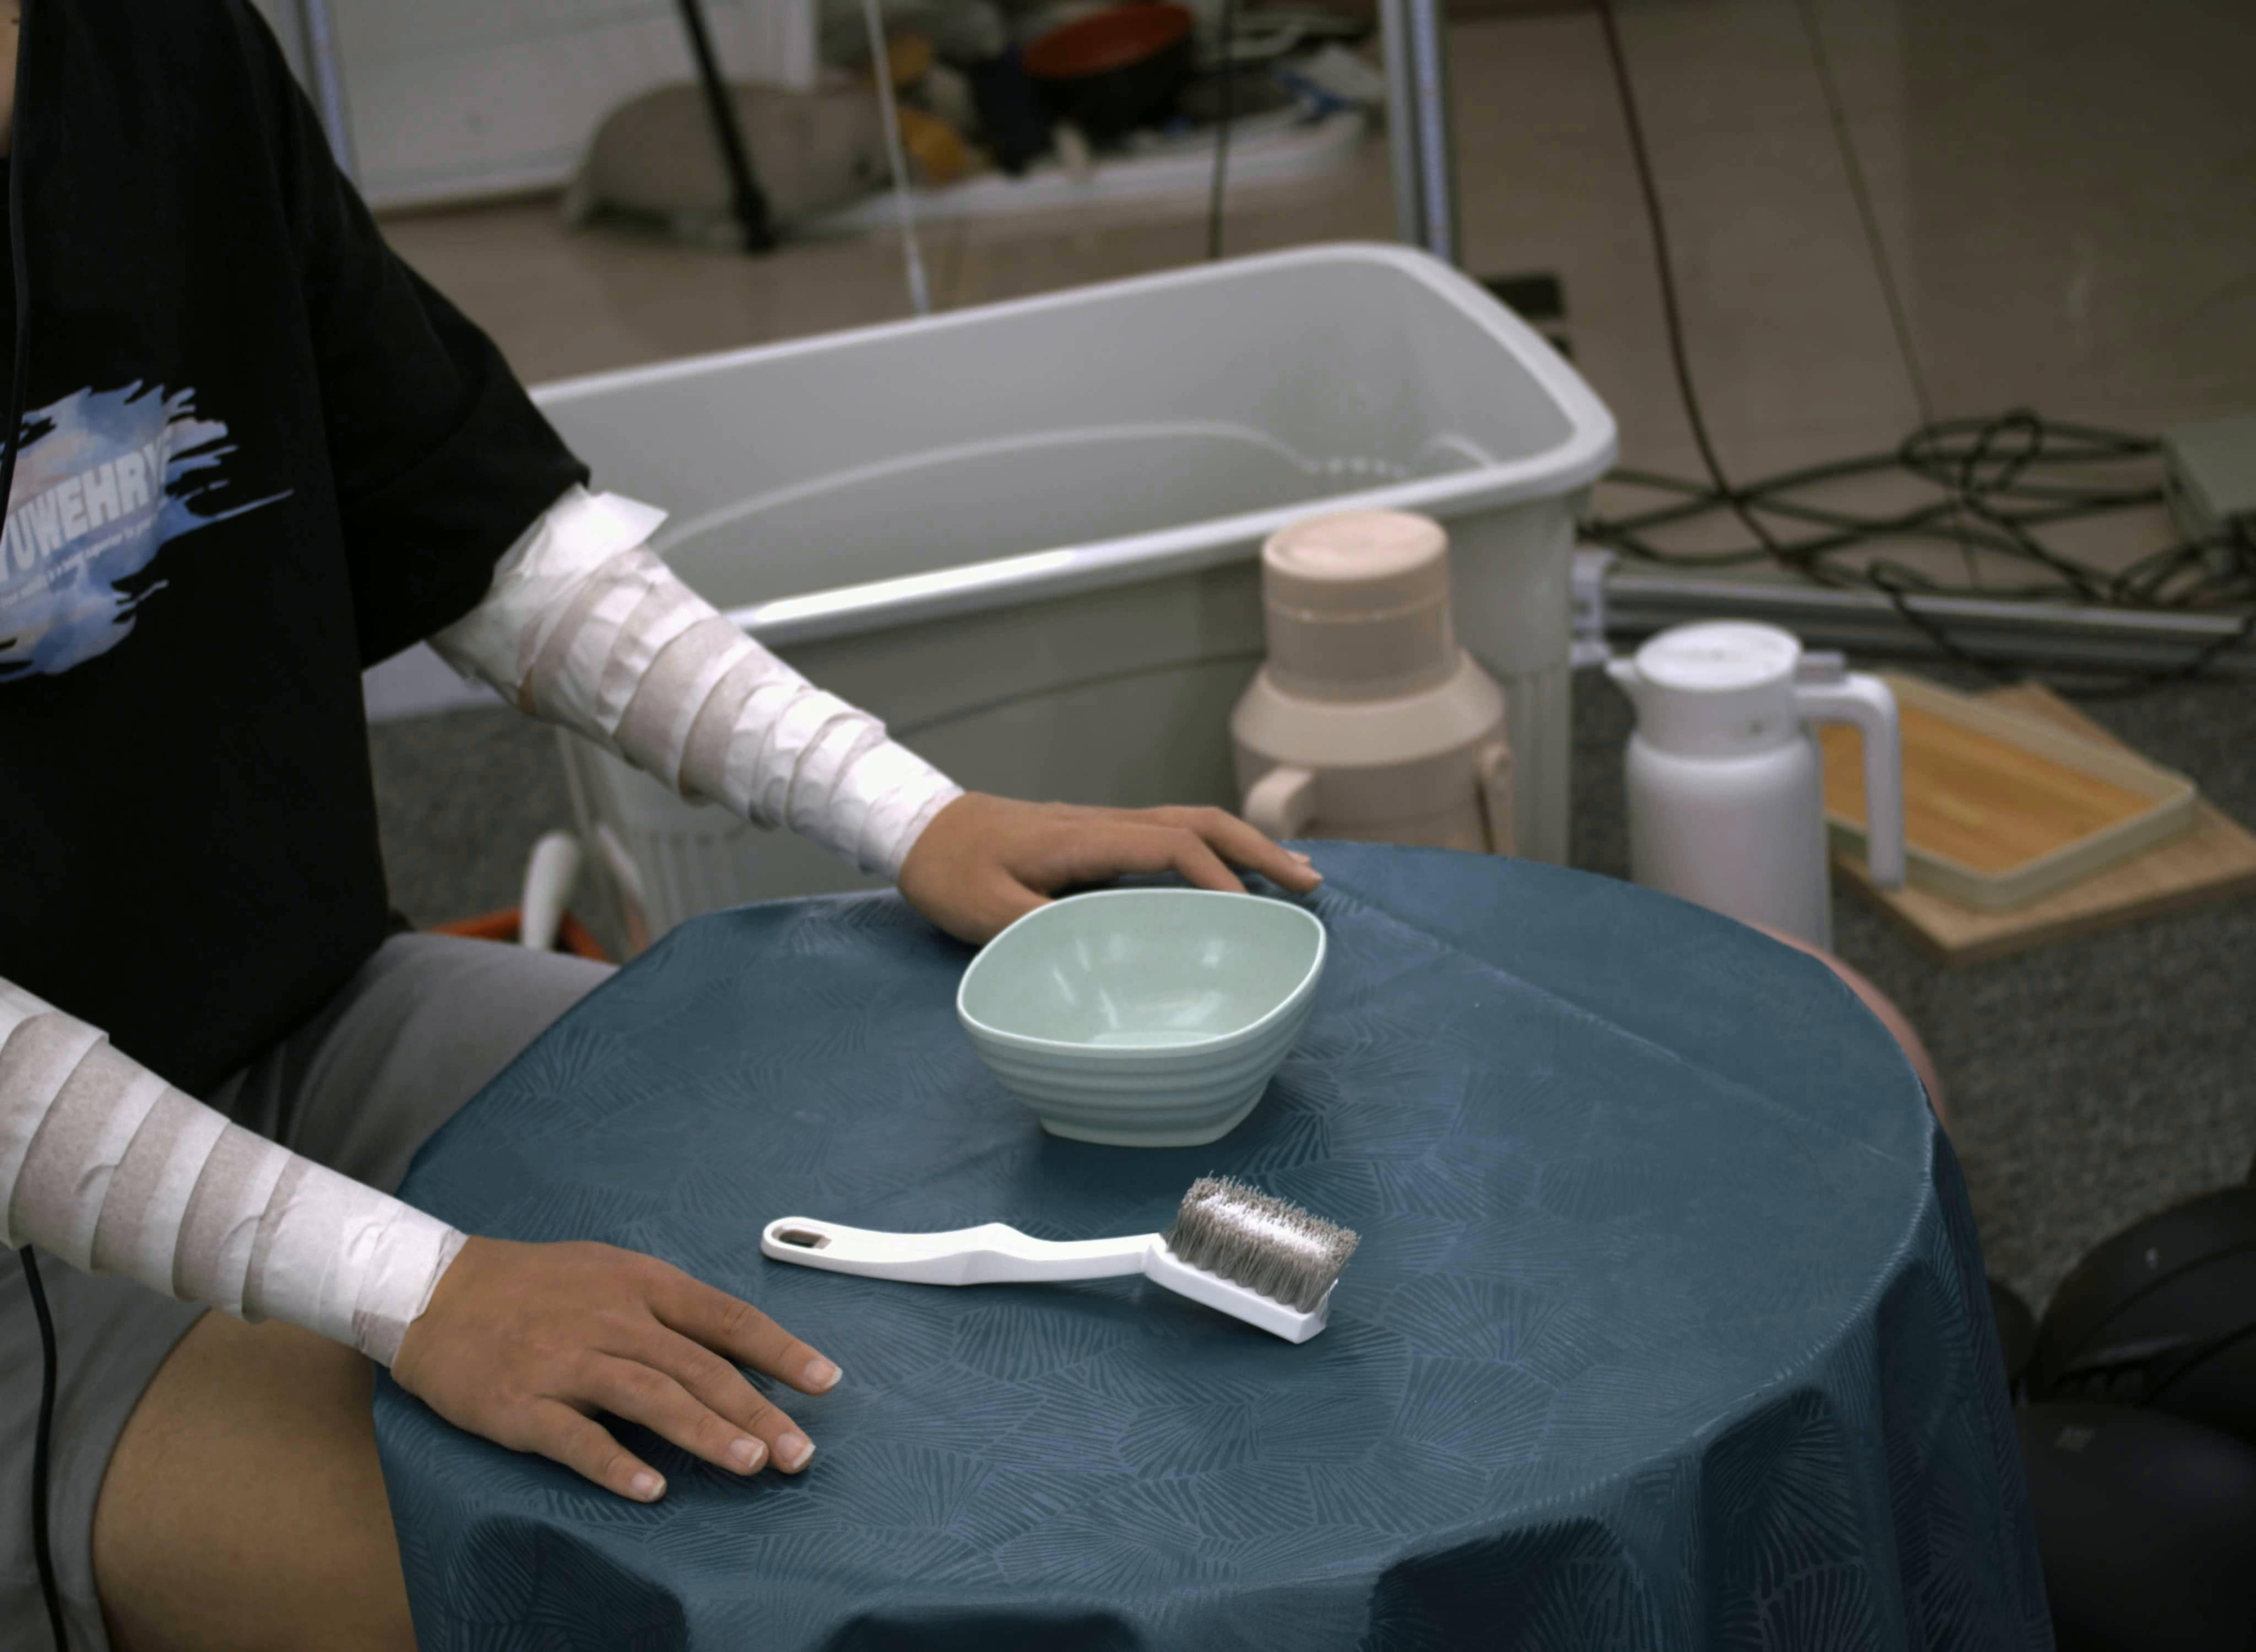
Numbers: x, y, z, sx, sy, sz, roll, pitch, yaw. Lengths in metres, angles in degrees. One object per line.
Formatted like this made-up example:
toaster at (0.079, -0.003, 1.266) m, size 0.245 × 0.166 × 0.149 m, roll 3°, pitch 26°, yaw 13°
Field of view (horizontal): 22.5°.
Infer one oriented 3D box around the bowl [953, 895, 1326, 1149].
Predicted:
bowl at (0.007, 0.081, 2.204) m, size 0.151 × 0.059 × 0.149 m, roll -5°, pitch 24°, yaw 2°

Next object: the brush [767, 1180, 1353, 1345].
brush at (-0.030, 0.146, 2.078) m, size 0.242 × 0.051 × 0.034 m, roll 8°, pitch 31°, yaw 28°
